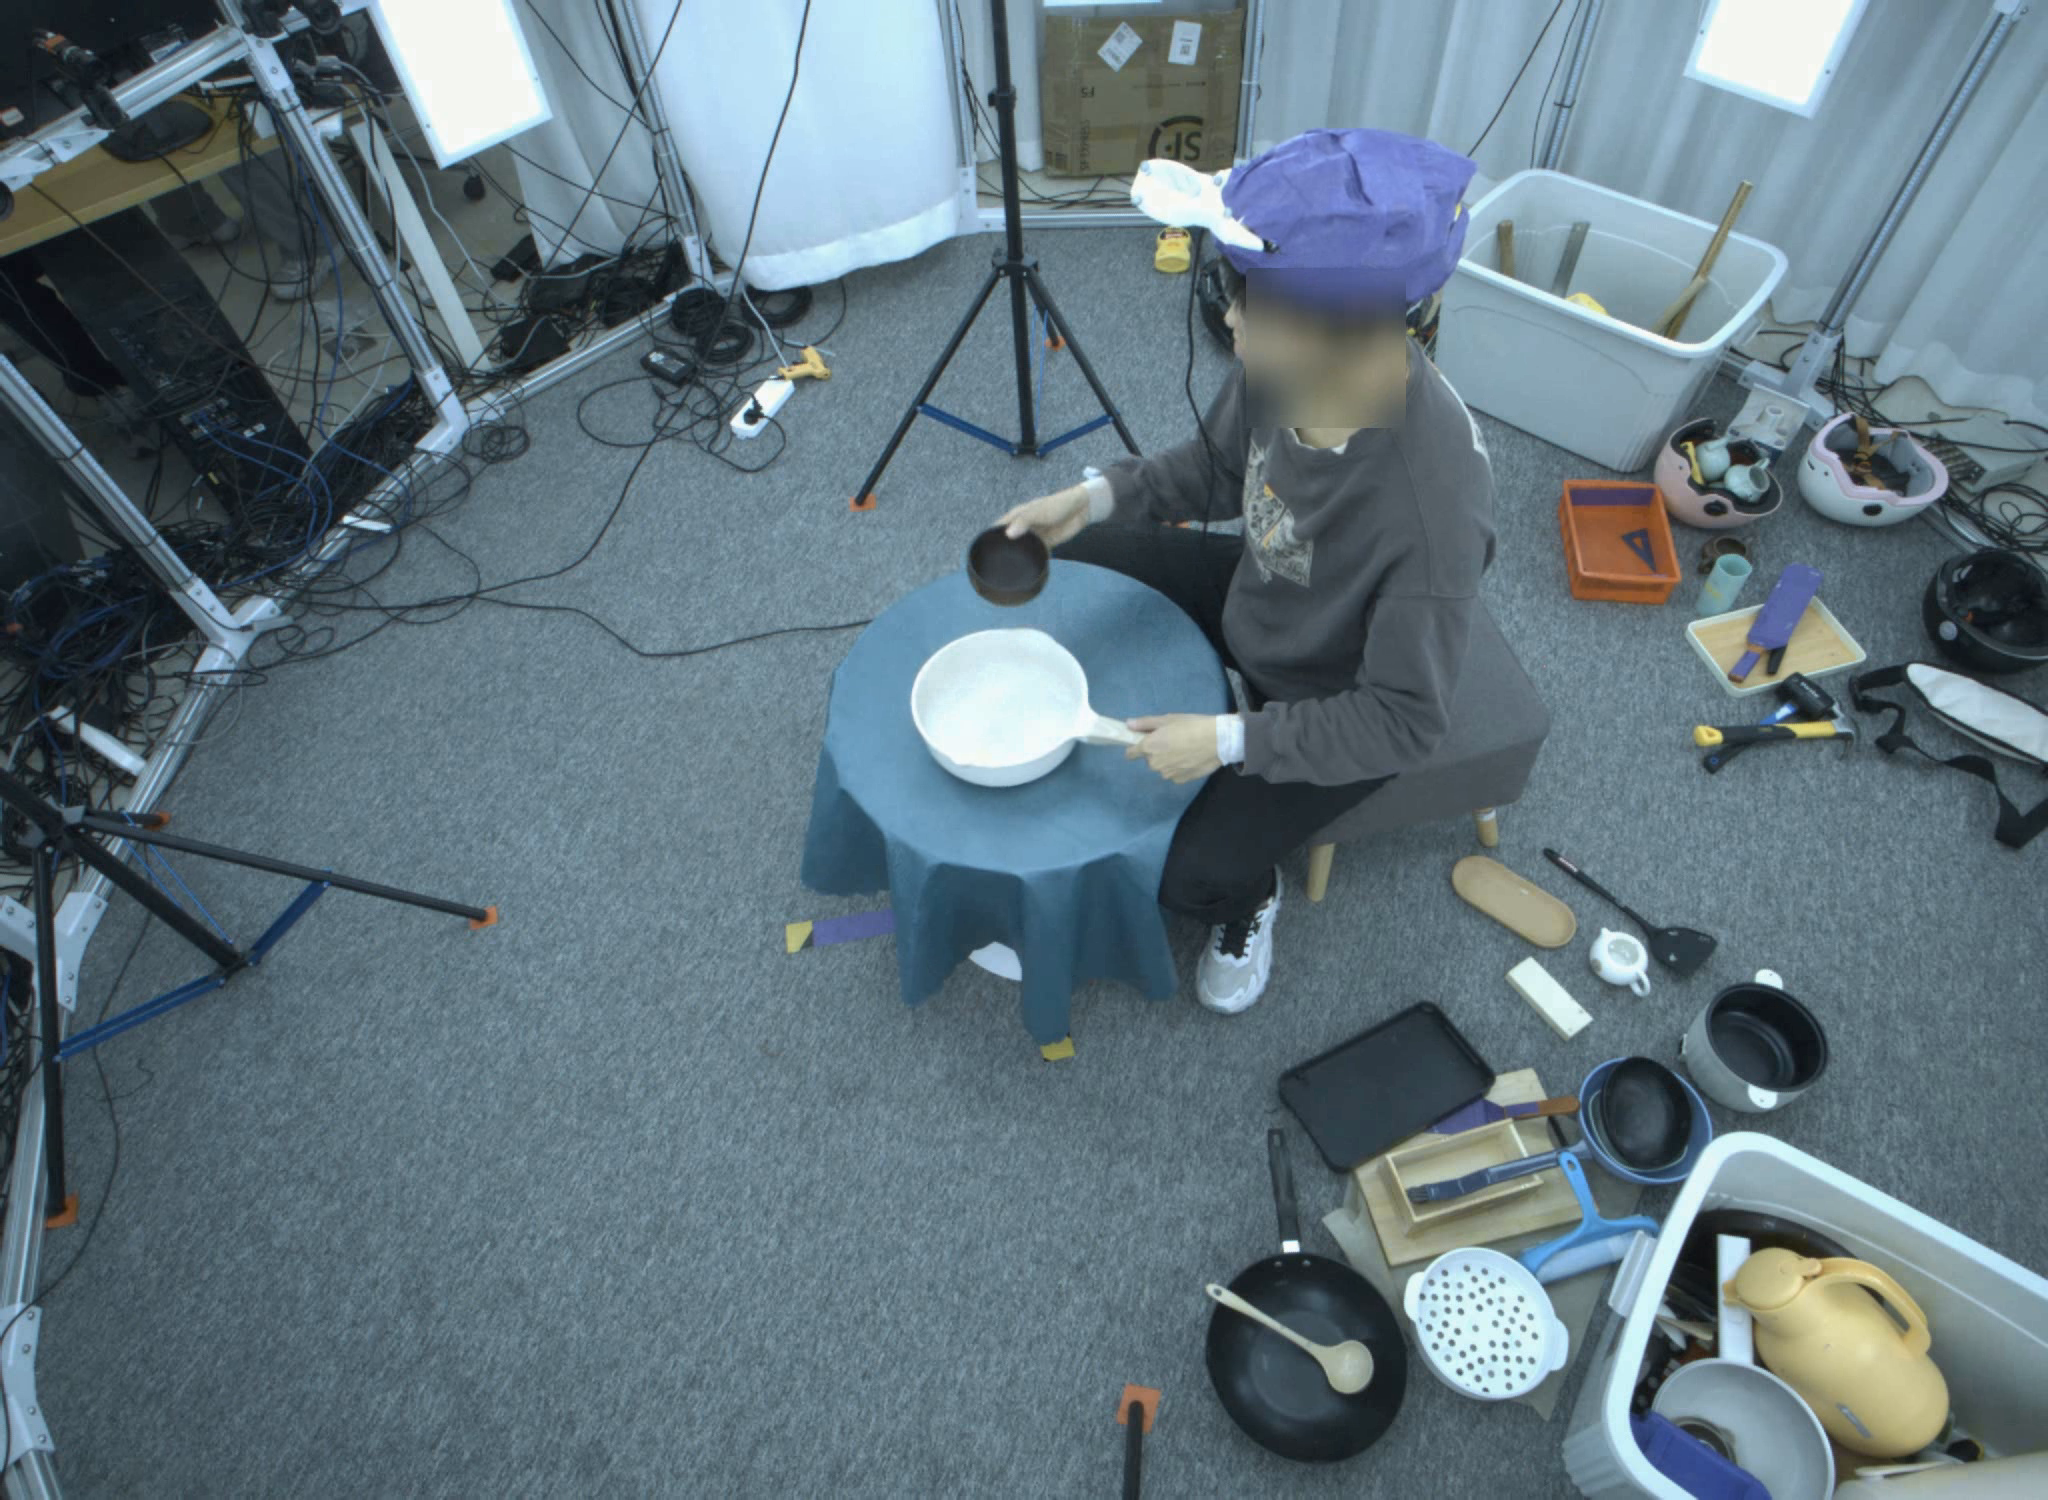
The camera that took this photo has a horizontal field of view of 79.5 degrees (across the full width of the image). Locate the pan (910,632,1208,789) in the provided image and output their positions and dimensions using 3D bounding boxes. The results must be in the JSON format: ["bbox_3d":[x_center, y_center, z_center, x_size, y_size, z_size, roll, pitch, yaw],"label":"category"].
[{"bbox_3d":[0.049,-0.028,1.743,0.430,0.103,0.263,19,55,14],"label":"pan"}]

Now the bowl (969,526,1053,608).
[{"bbox_3d":[-0.019,-0.249,1.725,0.118,0.070,0.117,3,61,-4],"label":"bowl"}]
